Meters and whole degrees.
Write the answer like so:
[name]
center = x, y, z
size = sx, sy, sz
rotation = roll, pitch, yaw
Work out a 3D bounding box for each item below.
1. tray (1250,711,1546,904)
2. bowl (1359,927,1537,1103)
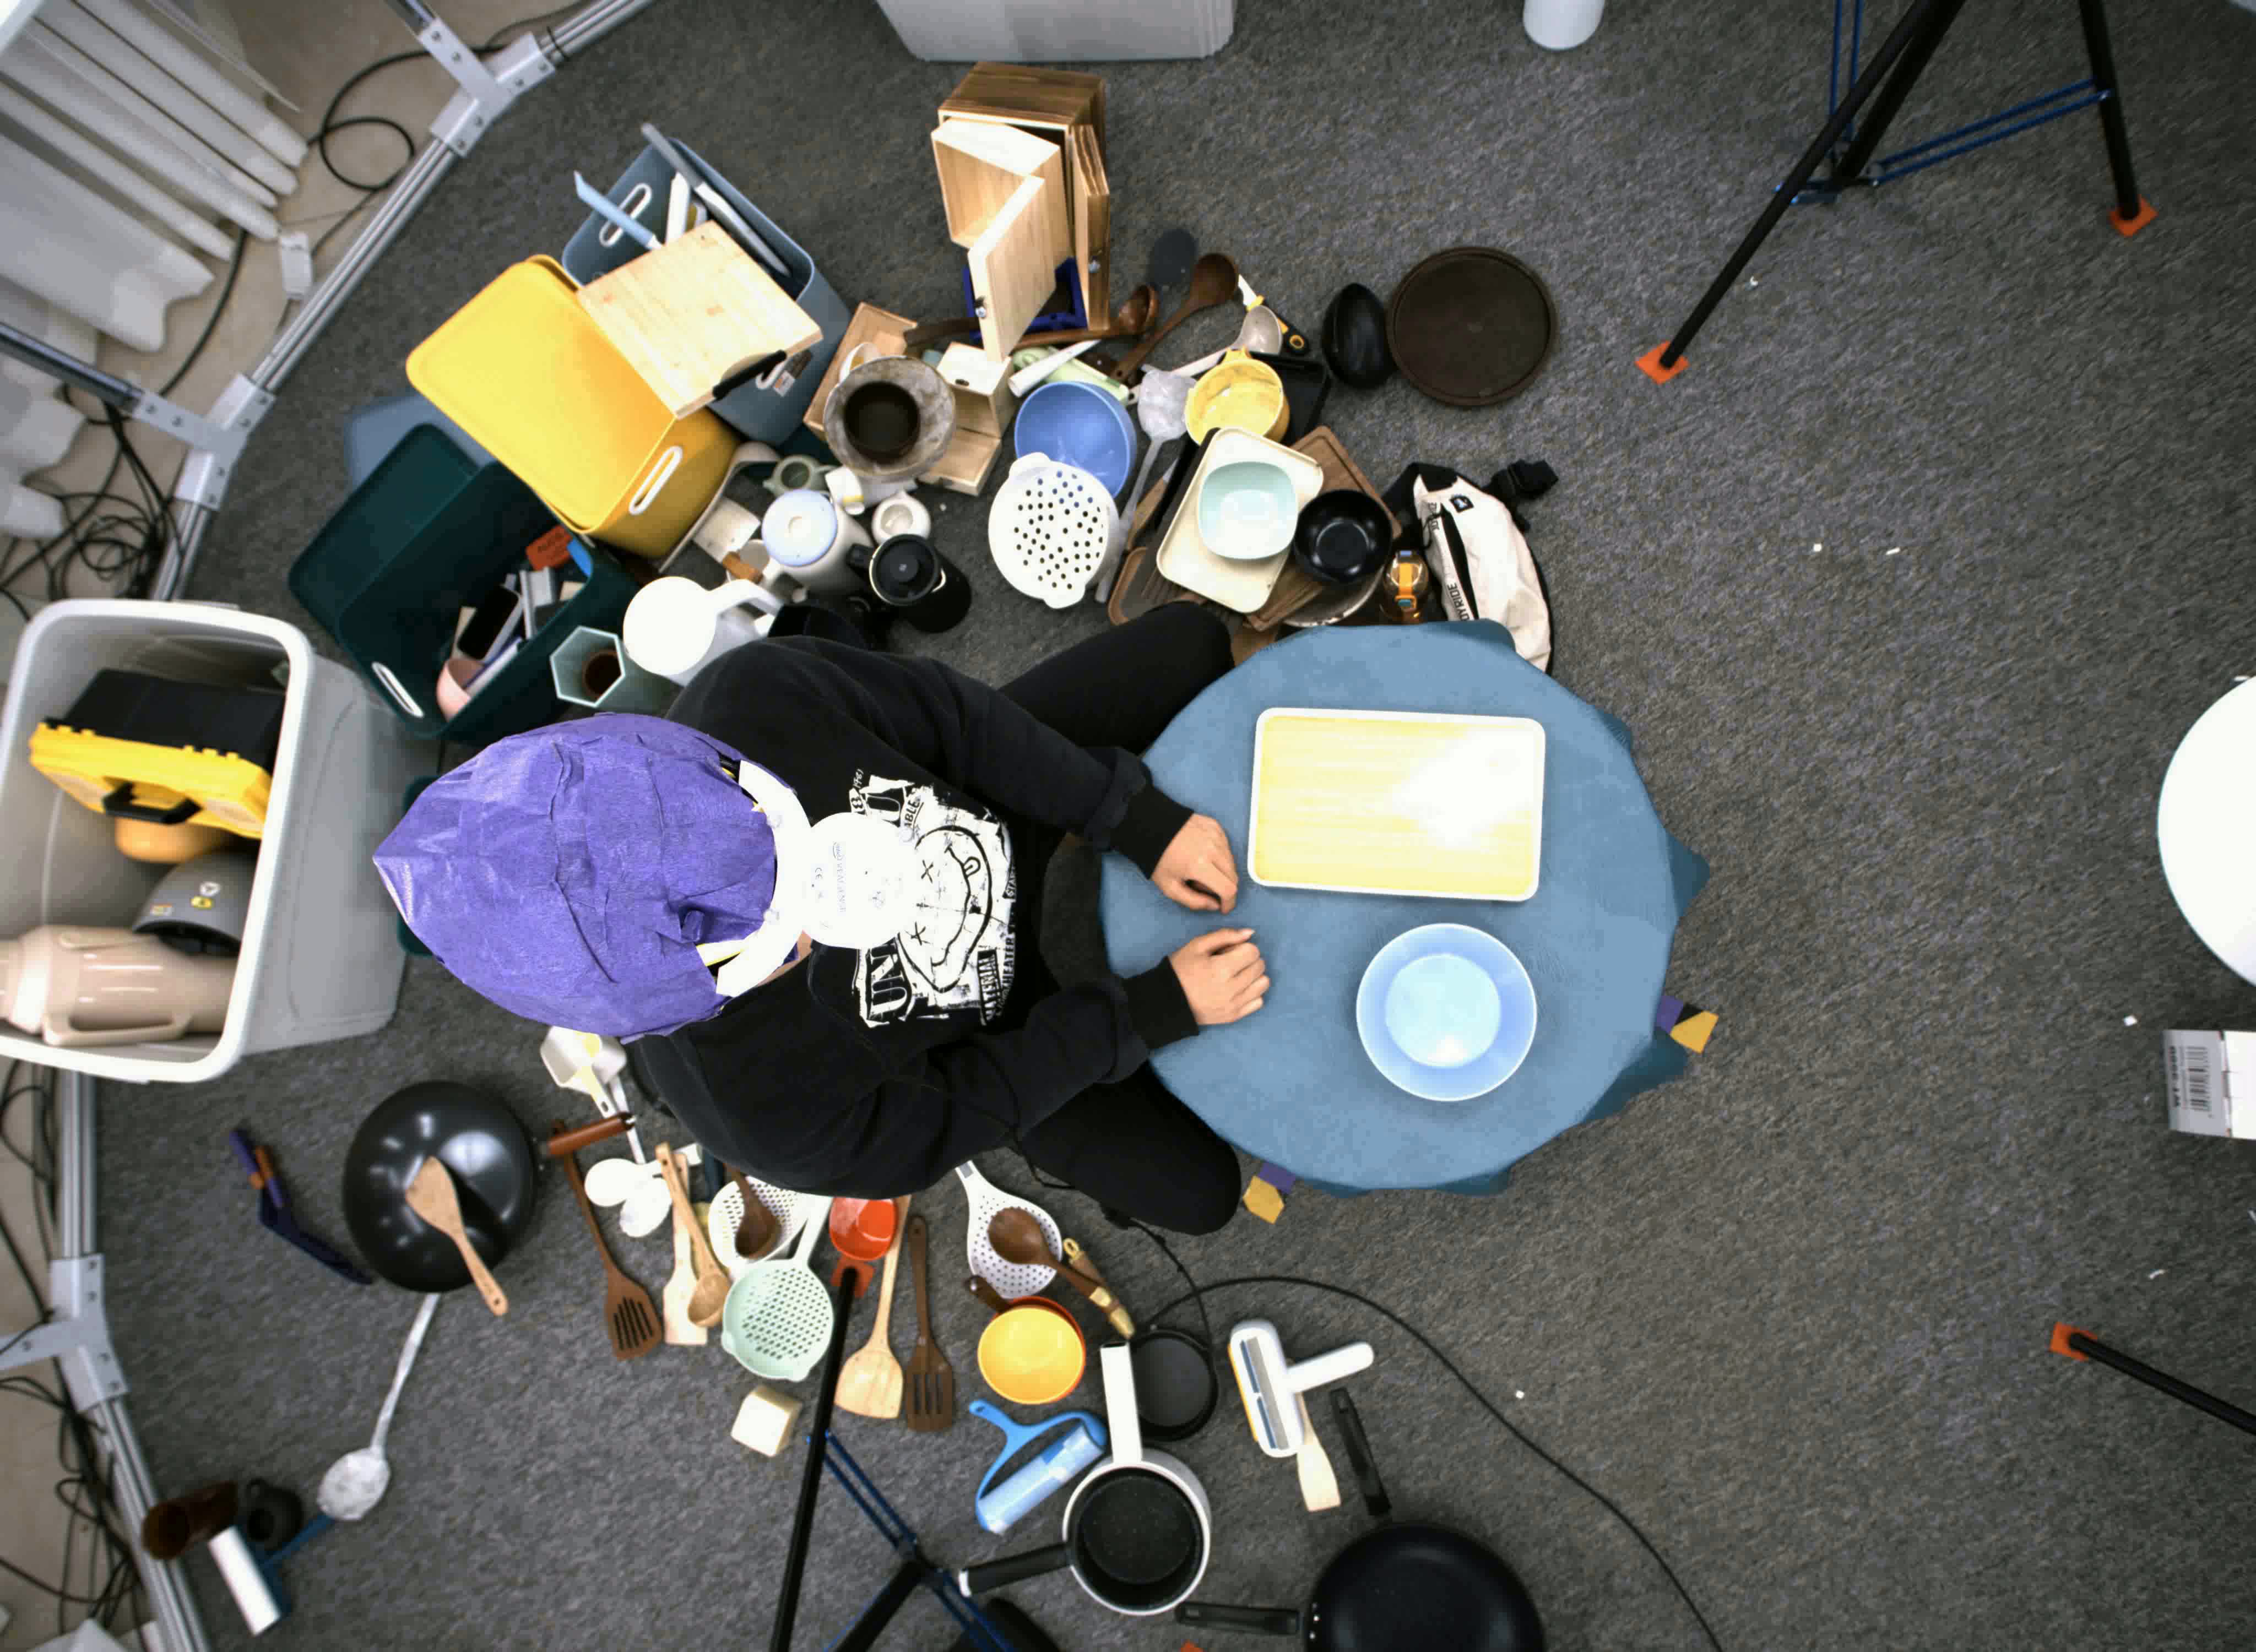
[tray]
center = 0.283, -0.022, 1.456
size = 0.301, 0.027, 0.191
rotation = 3, 87, 10
[bowl]
center = 0.325, 0.191, 1.410
size = 0.177, 0.070, 0.175
rotation = -1, 84, 10
